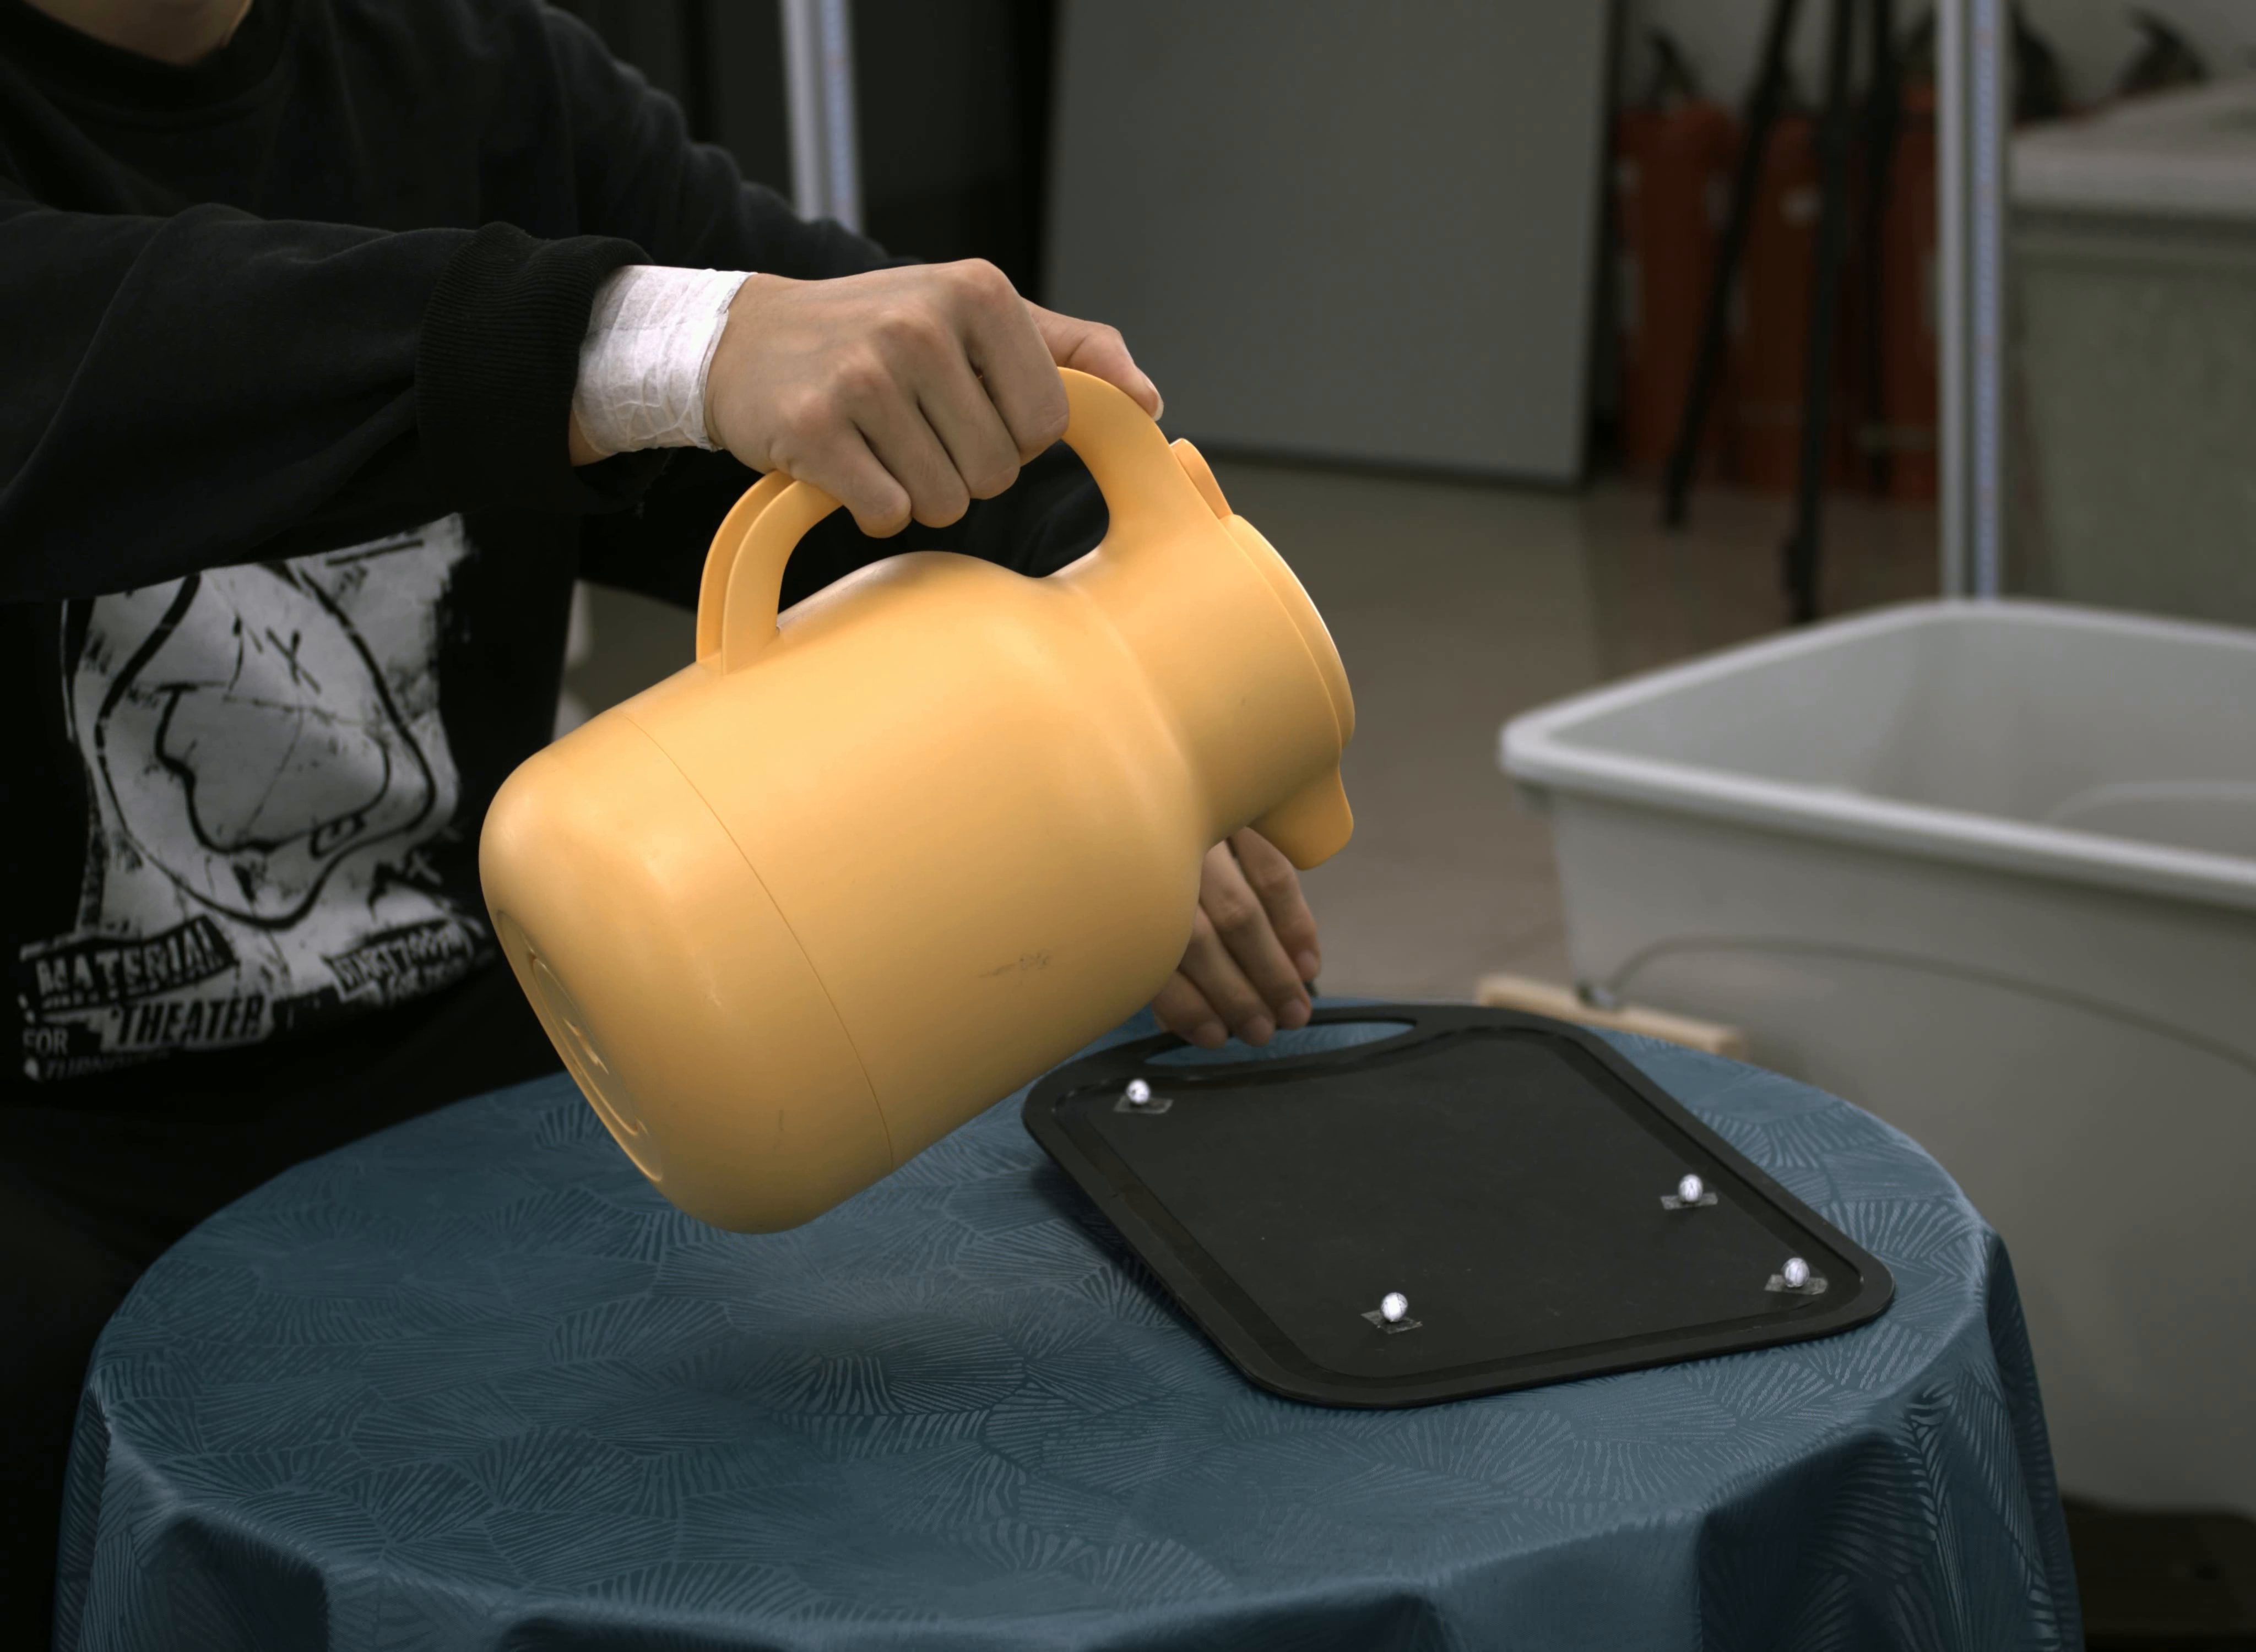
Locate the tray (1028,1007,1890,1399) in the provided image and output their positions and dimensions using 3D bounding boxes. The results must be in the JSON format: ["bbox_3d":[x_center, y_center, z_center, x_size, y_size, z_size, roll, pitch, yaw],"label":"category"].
[{"bbox_3d":[0.095,0.112,1.723,0.207,0.010,0.328,-8,18,-16],"label":"tray"}]

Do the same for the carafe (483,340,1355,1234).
[{"bbox_3d":[-0.064,-0.020,1.618,0.257,0.203,0.165,-32,16,-16],"label":"carafe"}]
